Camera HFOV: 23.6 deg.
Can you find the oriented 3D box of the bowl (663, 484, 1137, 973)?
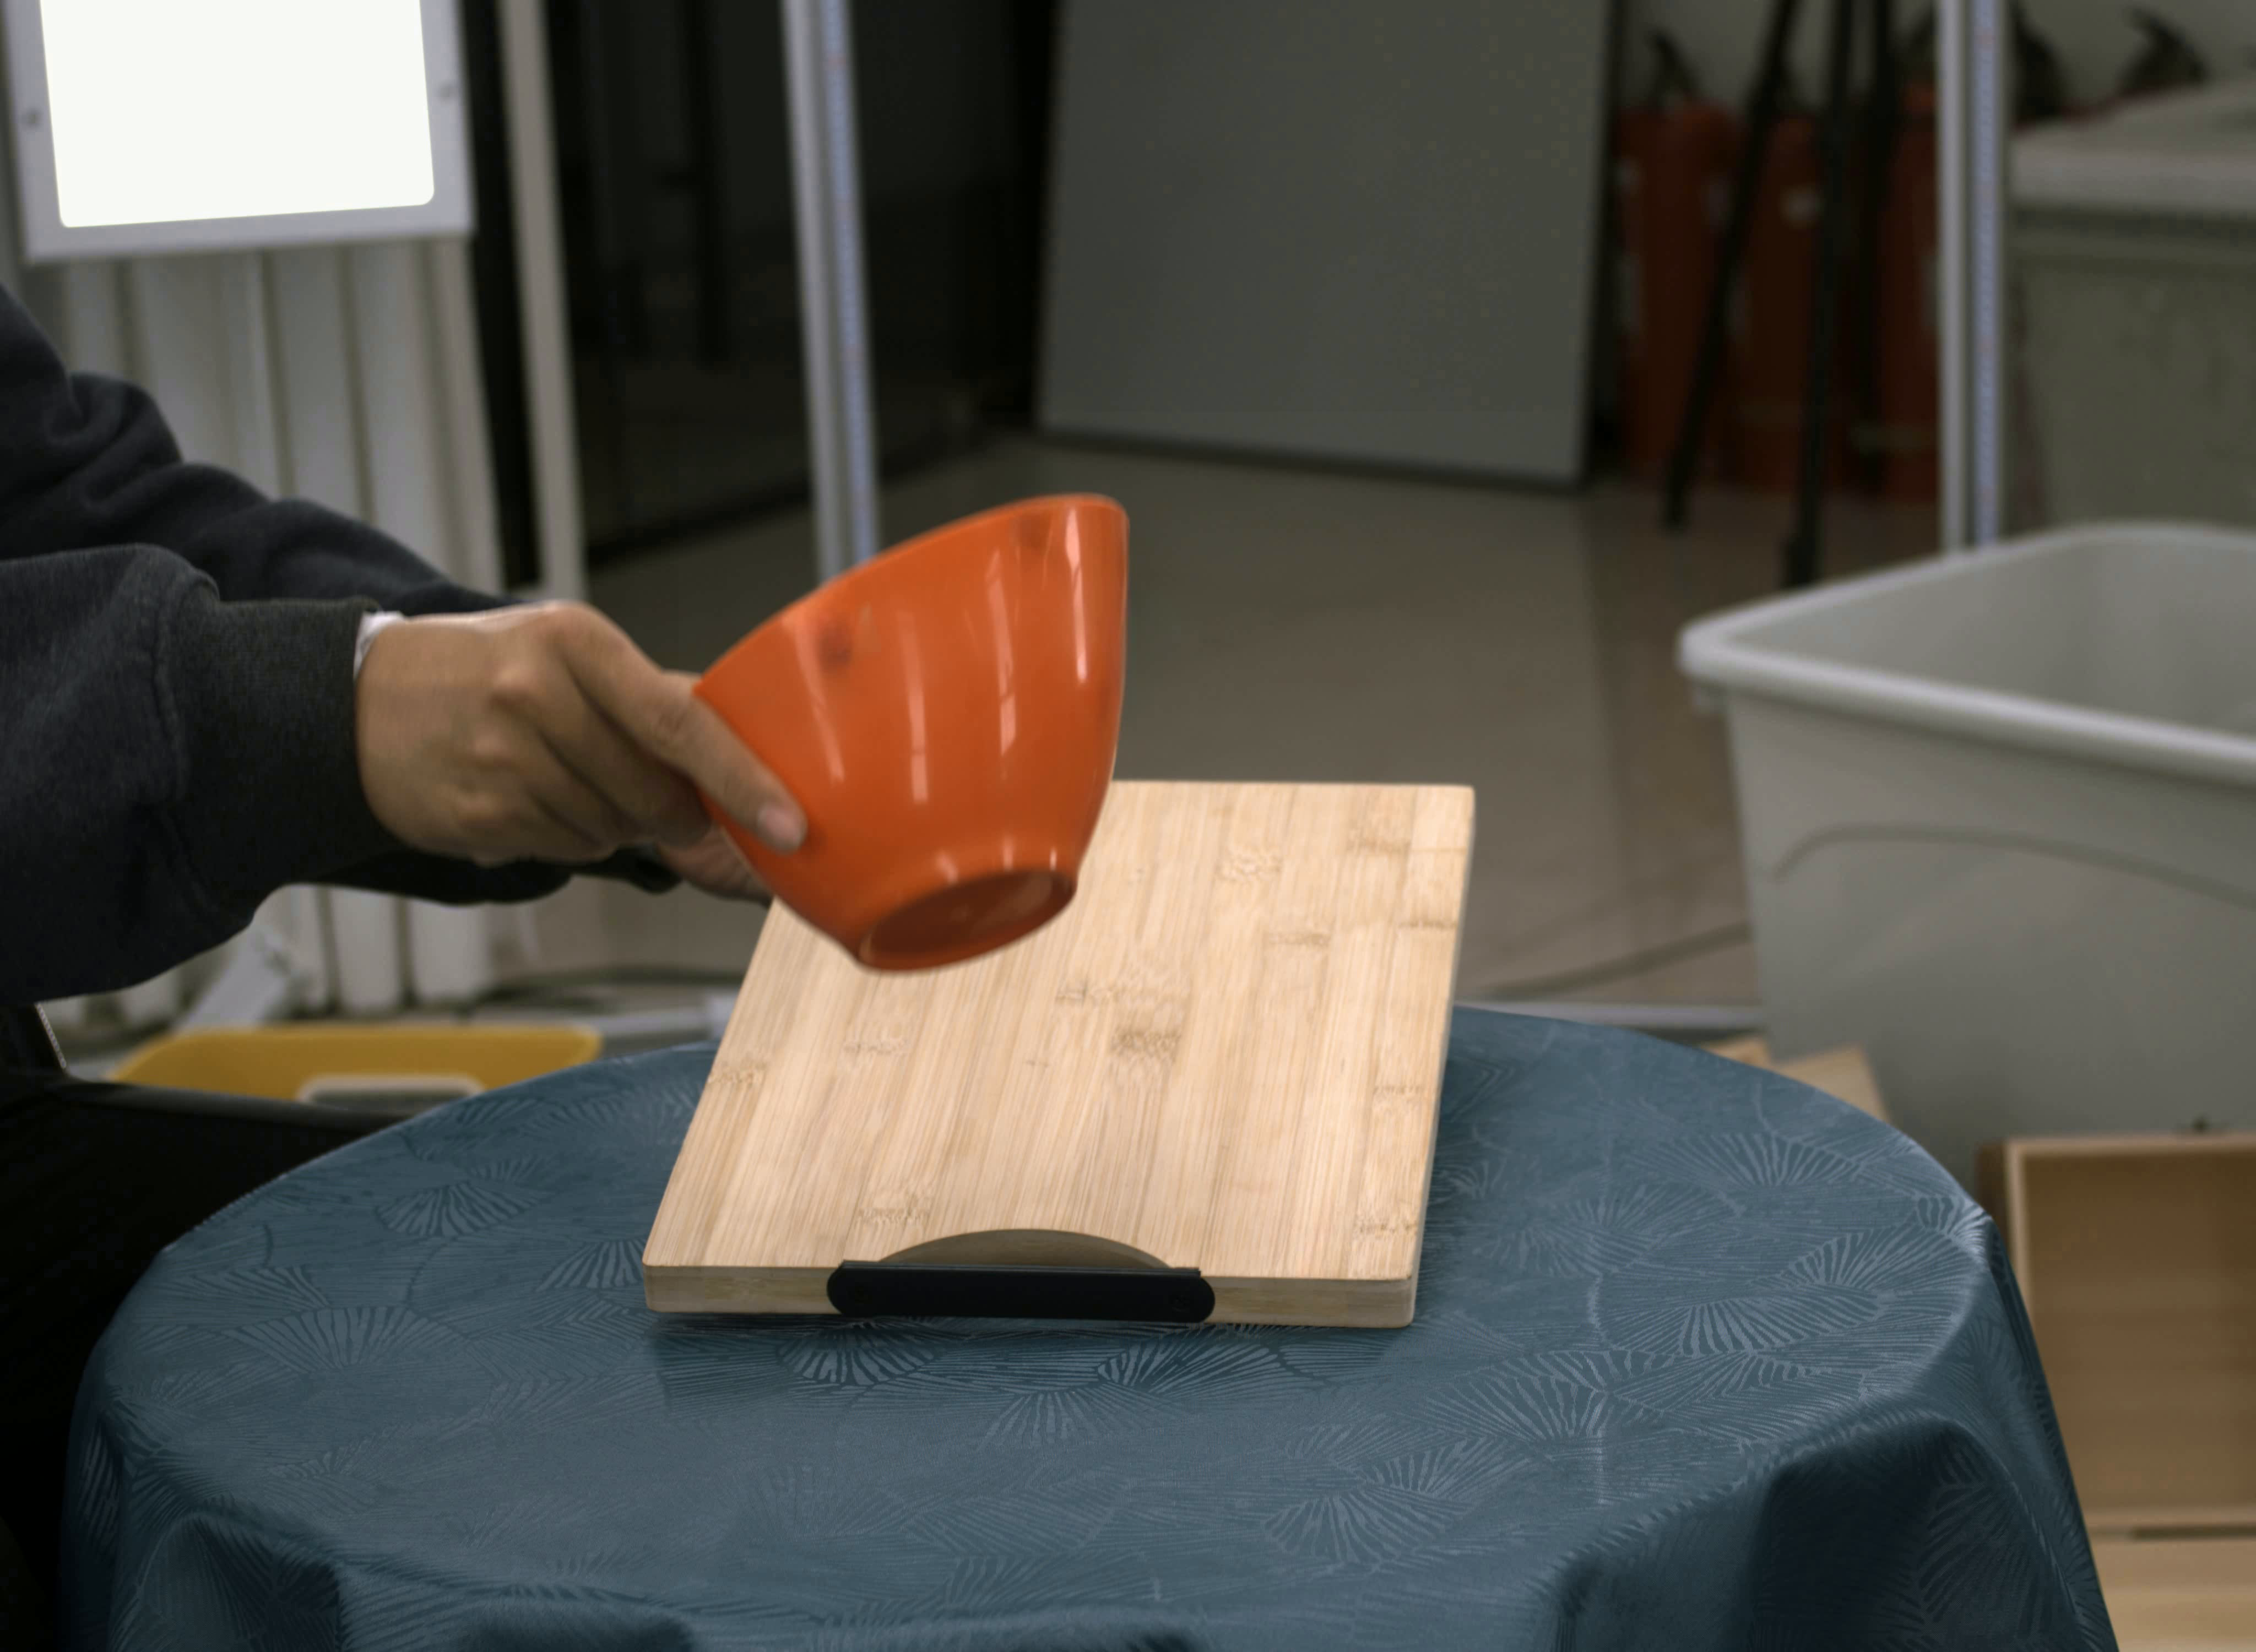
[{"bbox_3d":[-0.051,-0.021,1.516,0.146,0.106,0.148,-16,-20,-7],"label":"bowl"}]

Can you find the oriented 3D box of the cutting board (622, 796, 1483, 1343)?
[{"bbox_3d":[-0.014,0.072,1.781,0.248,0.024,0.348,-1,26,8],"label":"cutting board"}]
